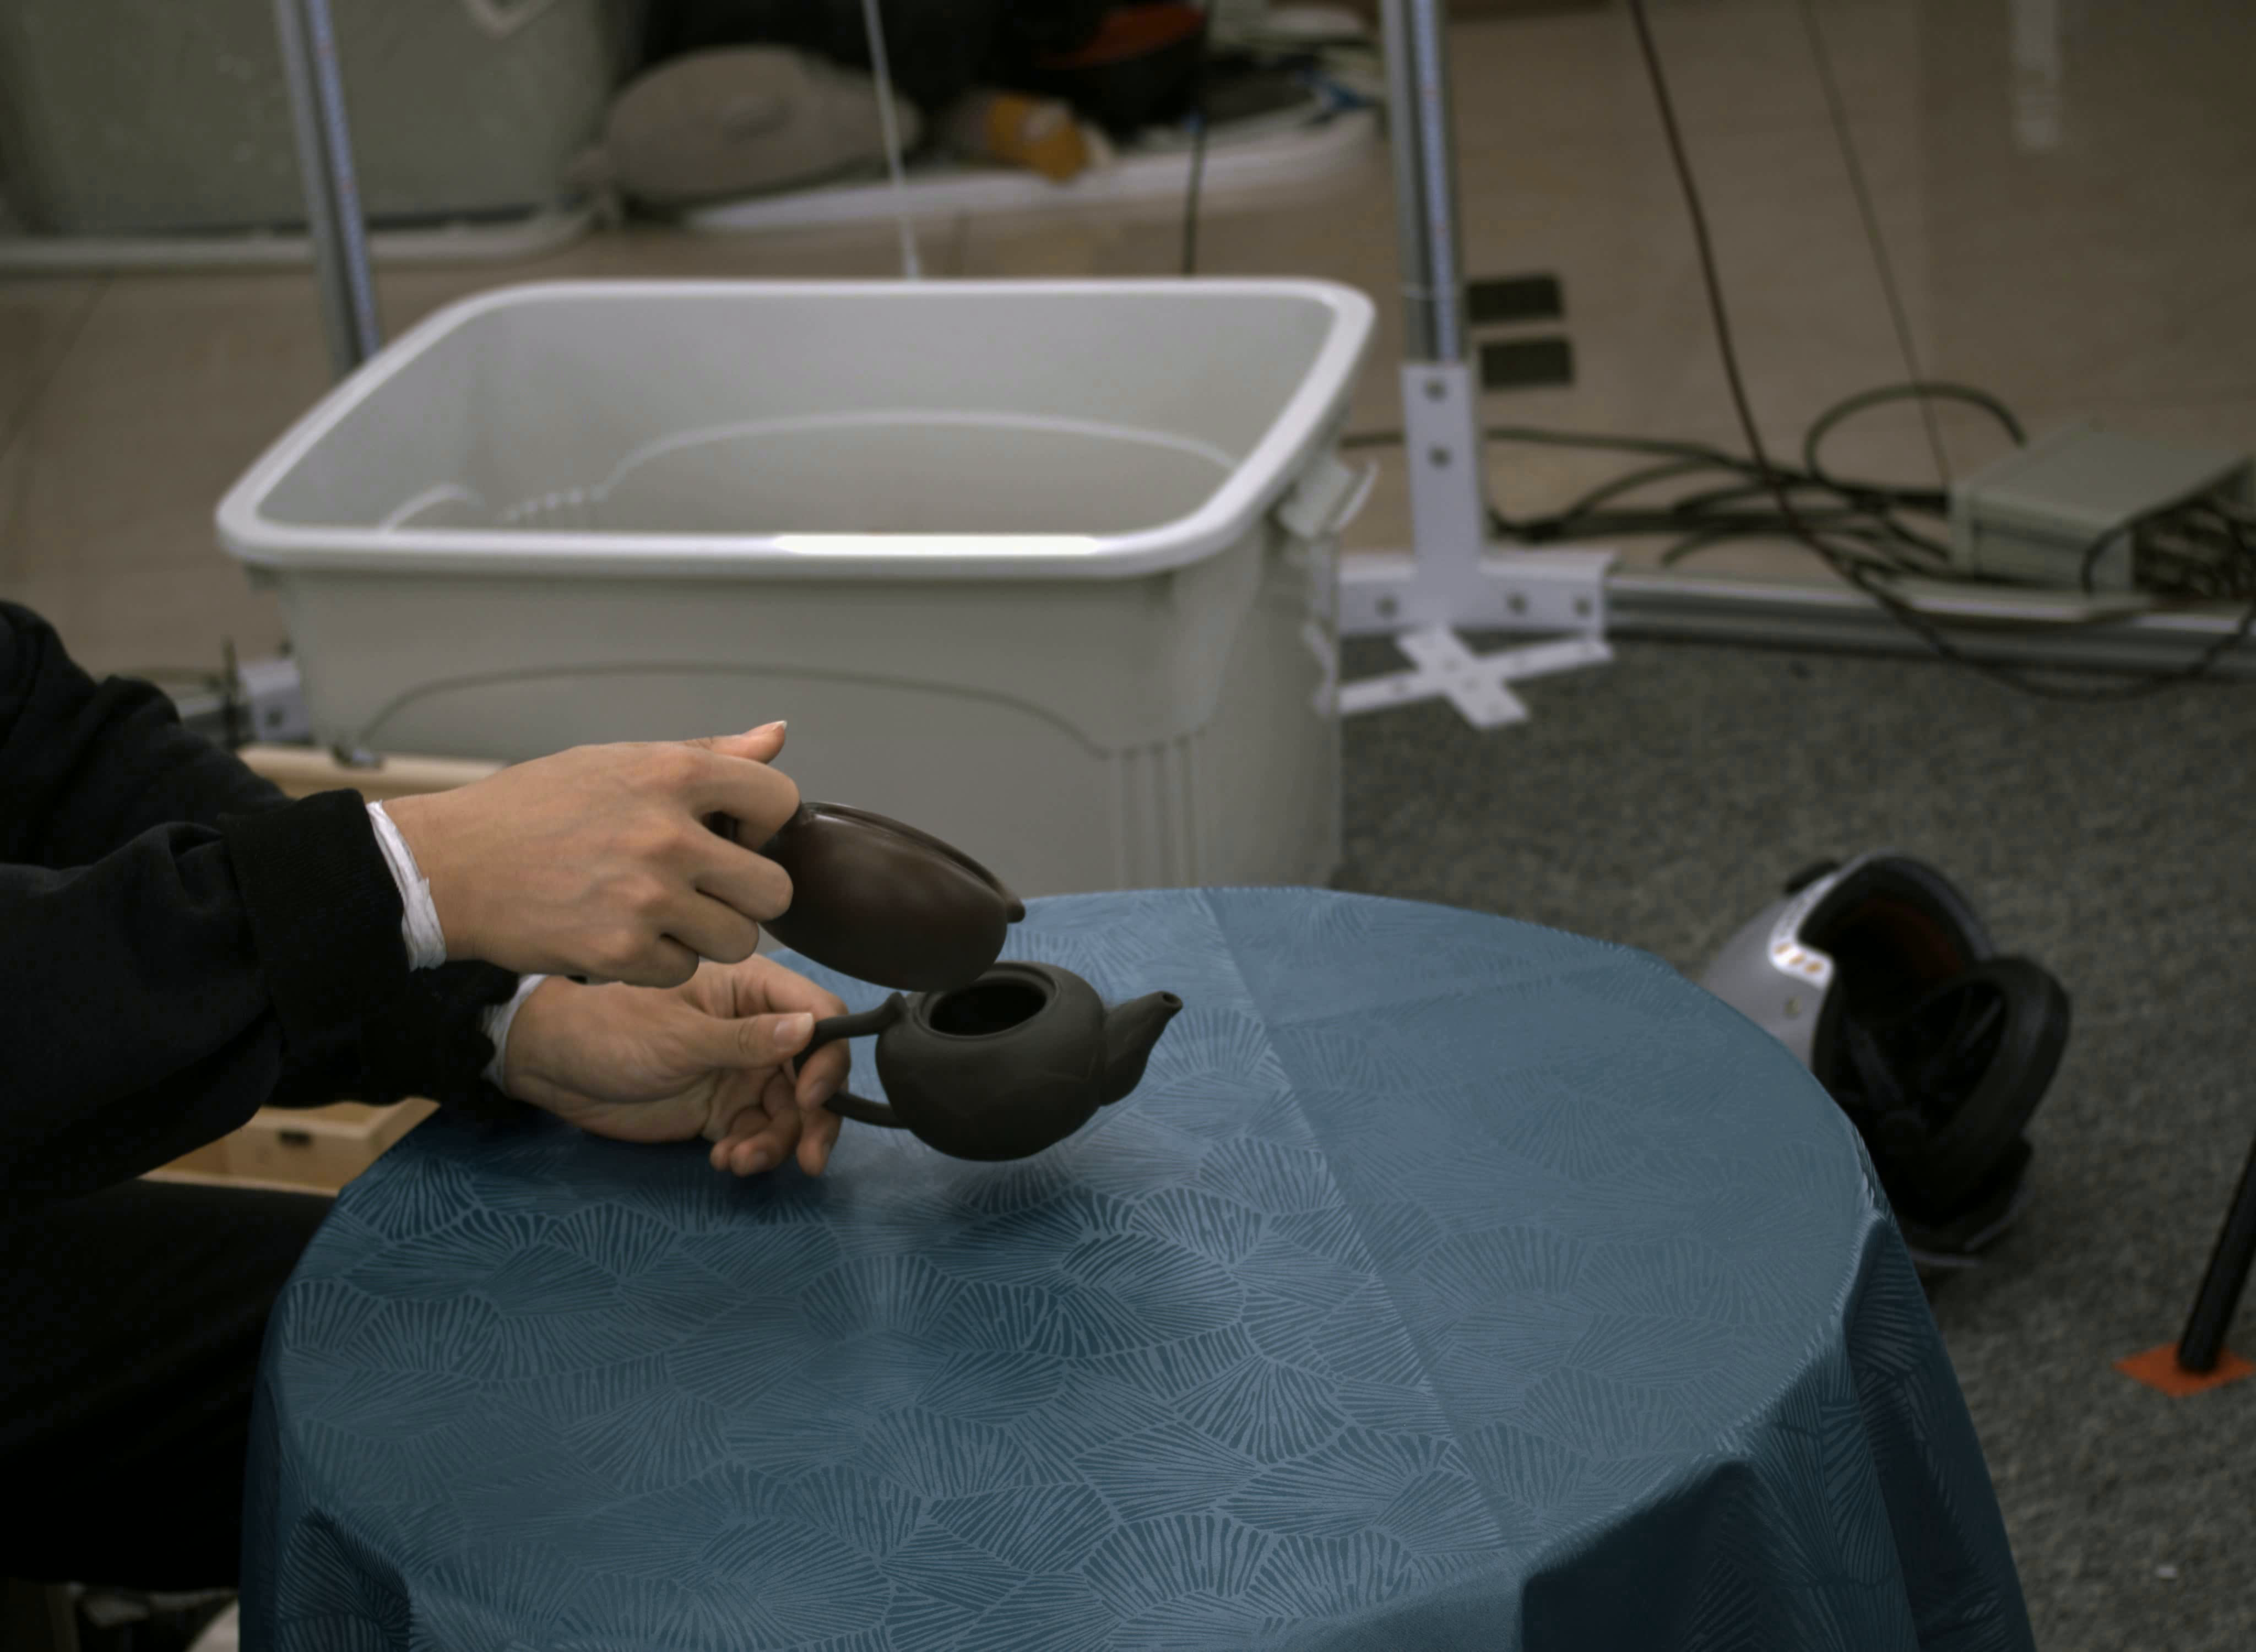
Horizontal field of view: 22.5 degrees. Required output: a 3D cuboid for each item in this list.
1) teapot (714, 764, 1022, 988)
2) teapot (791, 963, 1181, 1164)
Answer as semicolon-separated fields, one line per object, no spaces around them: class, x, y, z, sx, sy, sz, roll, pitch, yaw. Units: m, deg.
teapot;-0.095;0.022;2.047;0.102;0.155;0.053;7;72;40
teapot;-0.053;0.090;2.161;0.154;0.065;0.091;-4;26;11
